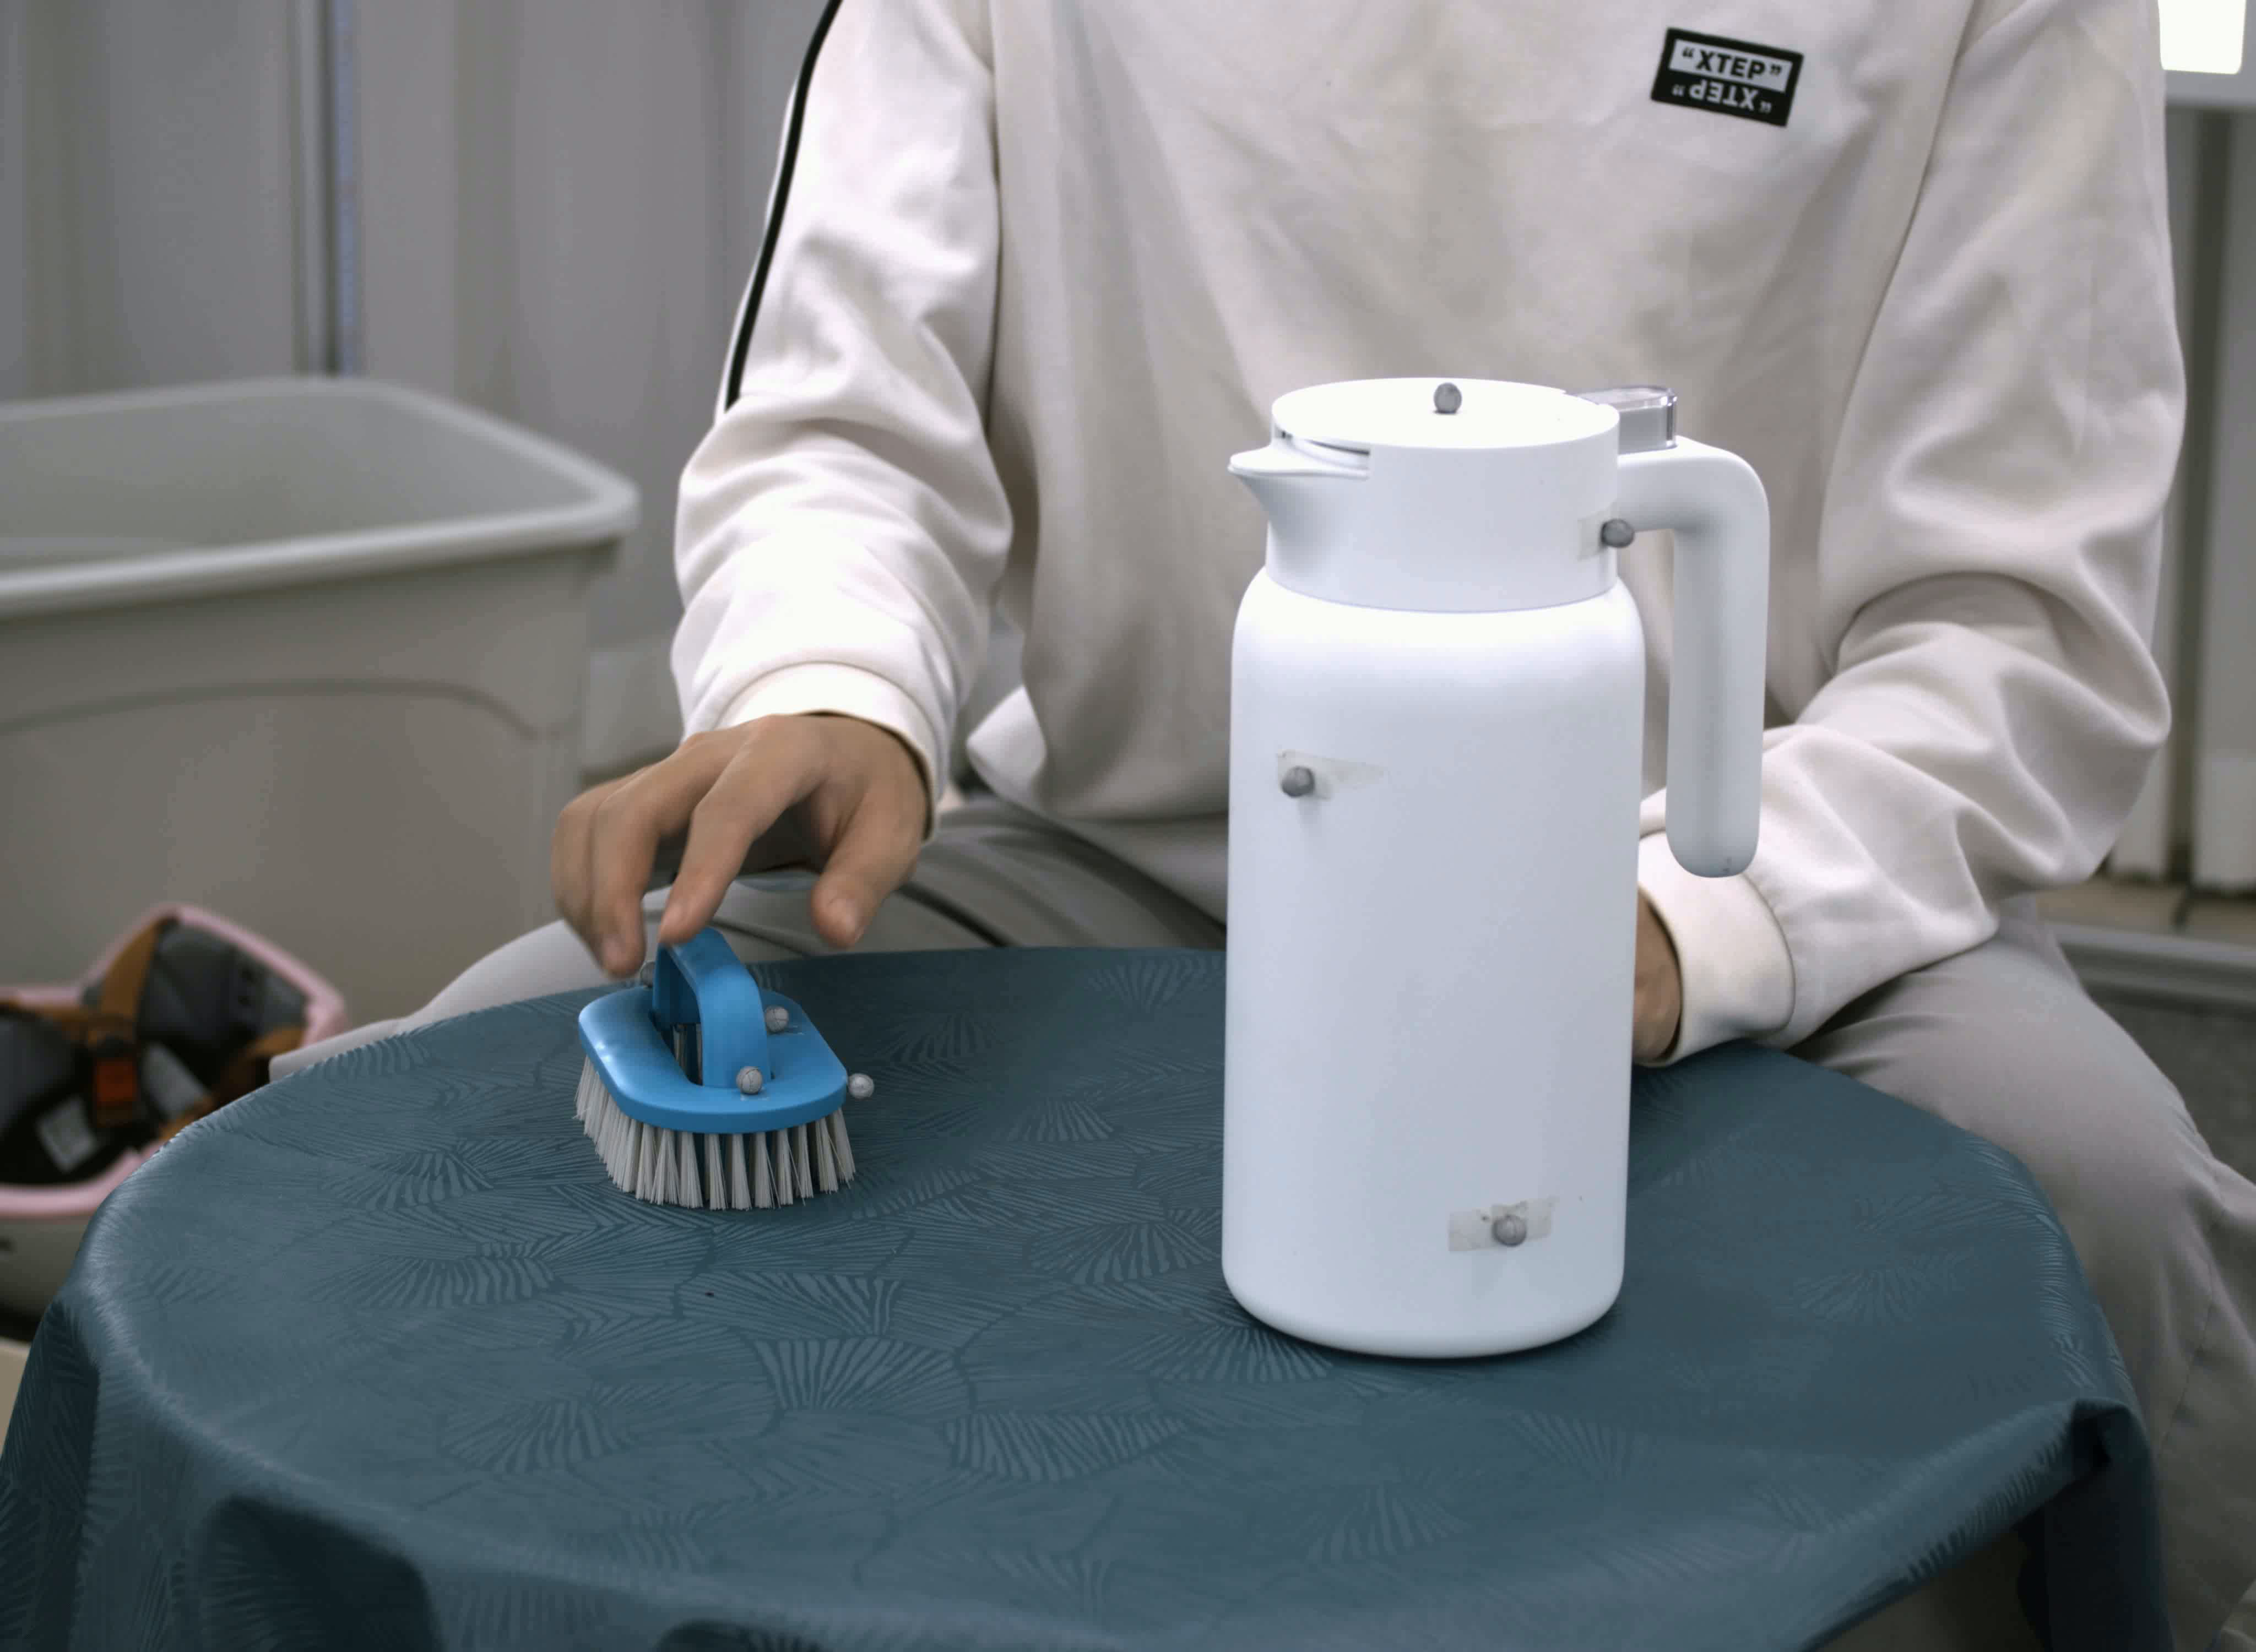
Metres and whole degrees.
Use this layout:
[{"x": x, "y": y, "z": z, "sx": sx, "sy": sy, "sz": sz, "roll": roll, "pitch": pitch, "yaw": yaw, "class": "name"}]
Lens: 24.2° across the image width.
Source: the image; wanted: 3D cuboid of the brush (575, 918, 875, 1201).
[{"x": -0.130, "y": 0.067, "z": 1.663, "sx": 0.084, "sy": 0.064, "sz": 0.140, "roll": -8, "pitch": 16, "yaw": -12, "class": "brush"}]

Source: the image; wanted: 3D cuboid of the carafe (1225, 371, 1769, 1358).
[{"x": 0.102, "y": 0.008, "z": 1.513, "sx": 0.173, "sy": 0.271, "sz": 0.122, "roll": -8, "pitch": 16, "yaw": -29, "class": "carafe"}]
